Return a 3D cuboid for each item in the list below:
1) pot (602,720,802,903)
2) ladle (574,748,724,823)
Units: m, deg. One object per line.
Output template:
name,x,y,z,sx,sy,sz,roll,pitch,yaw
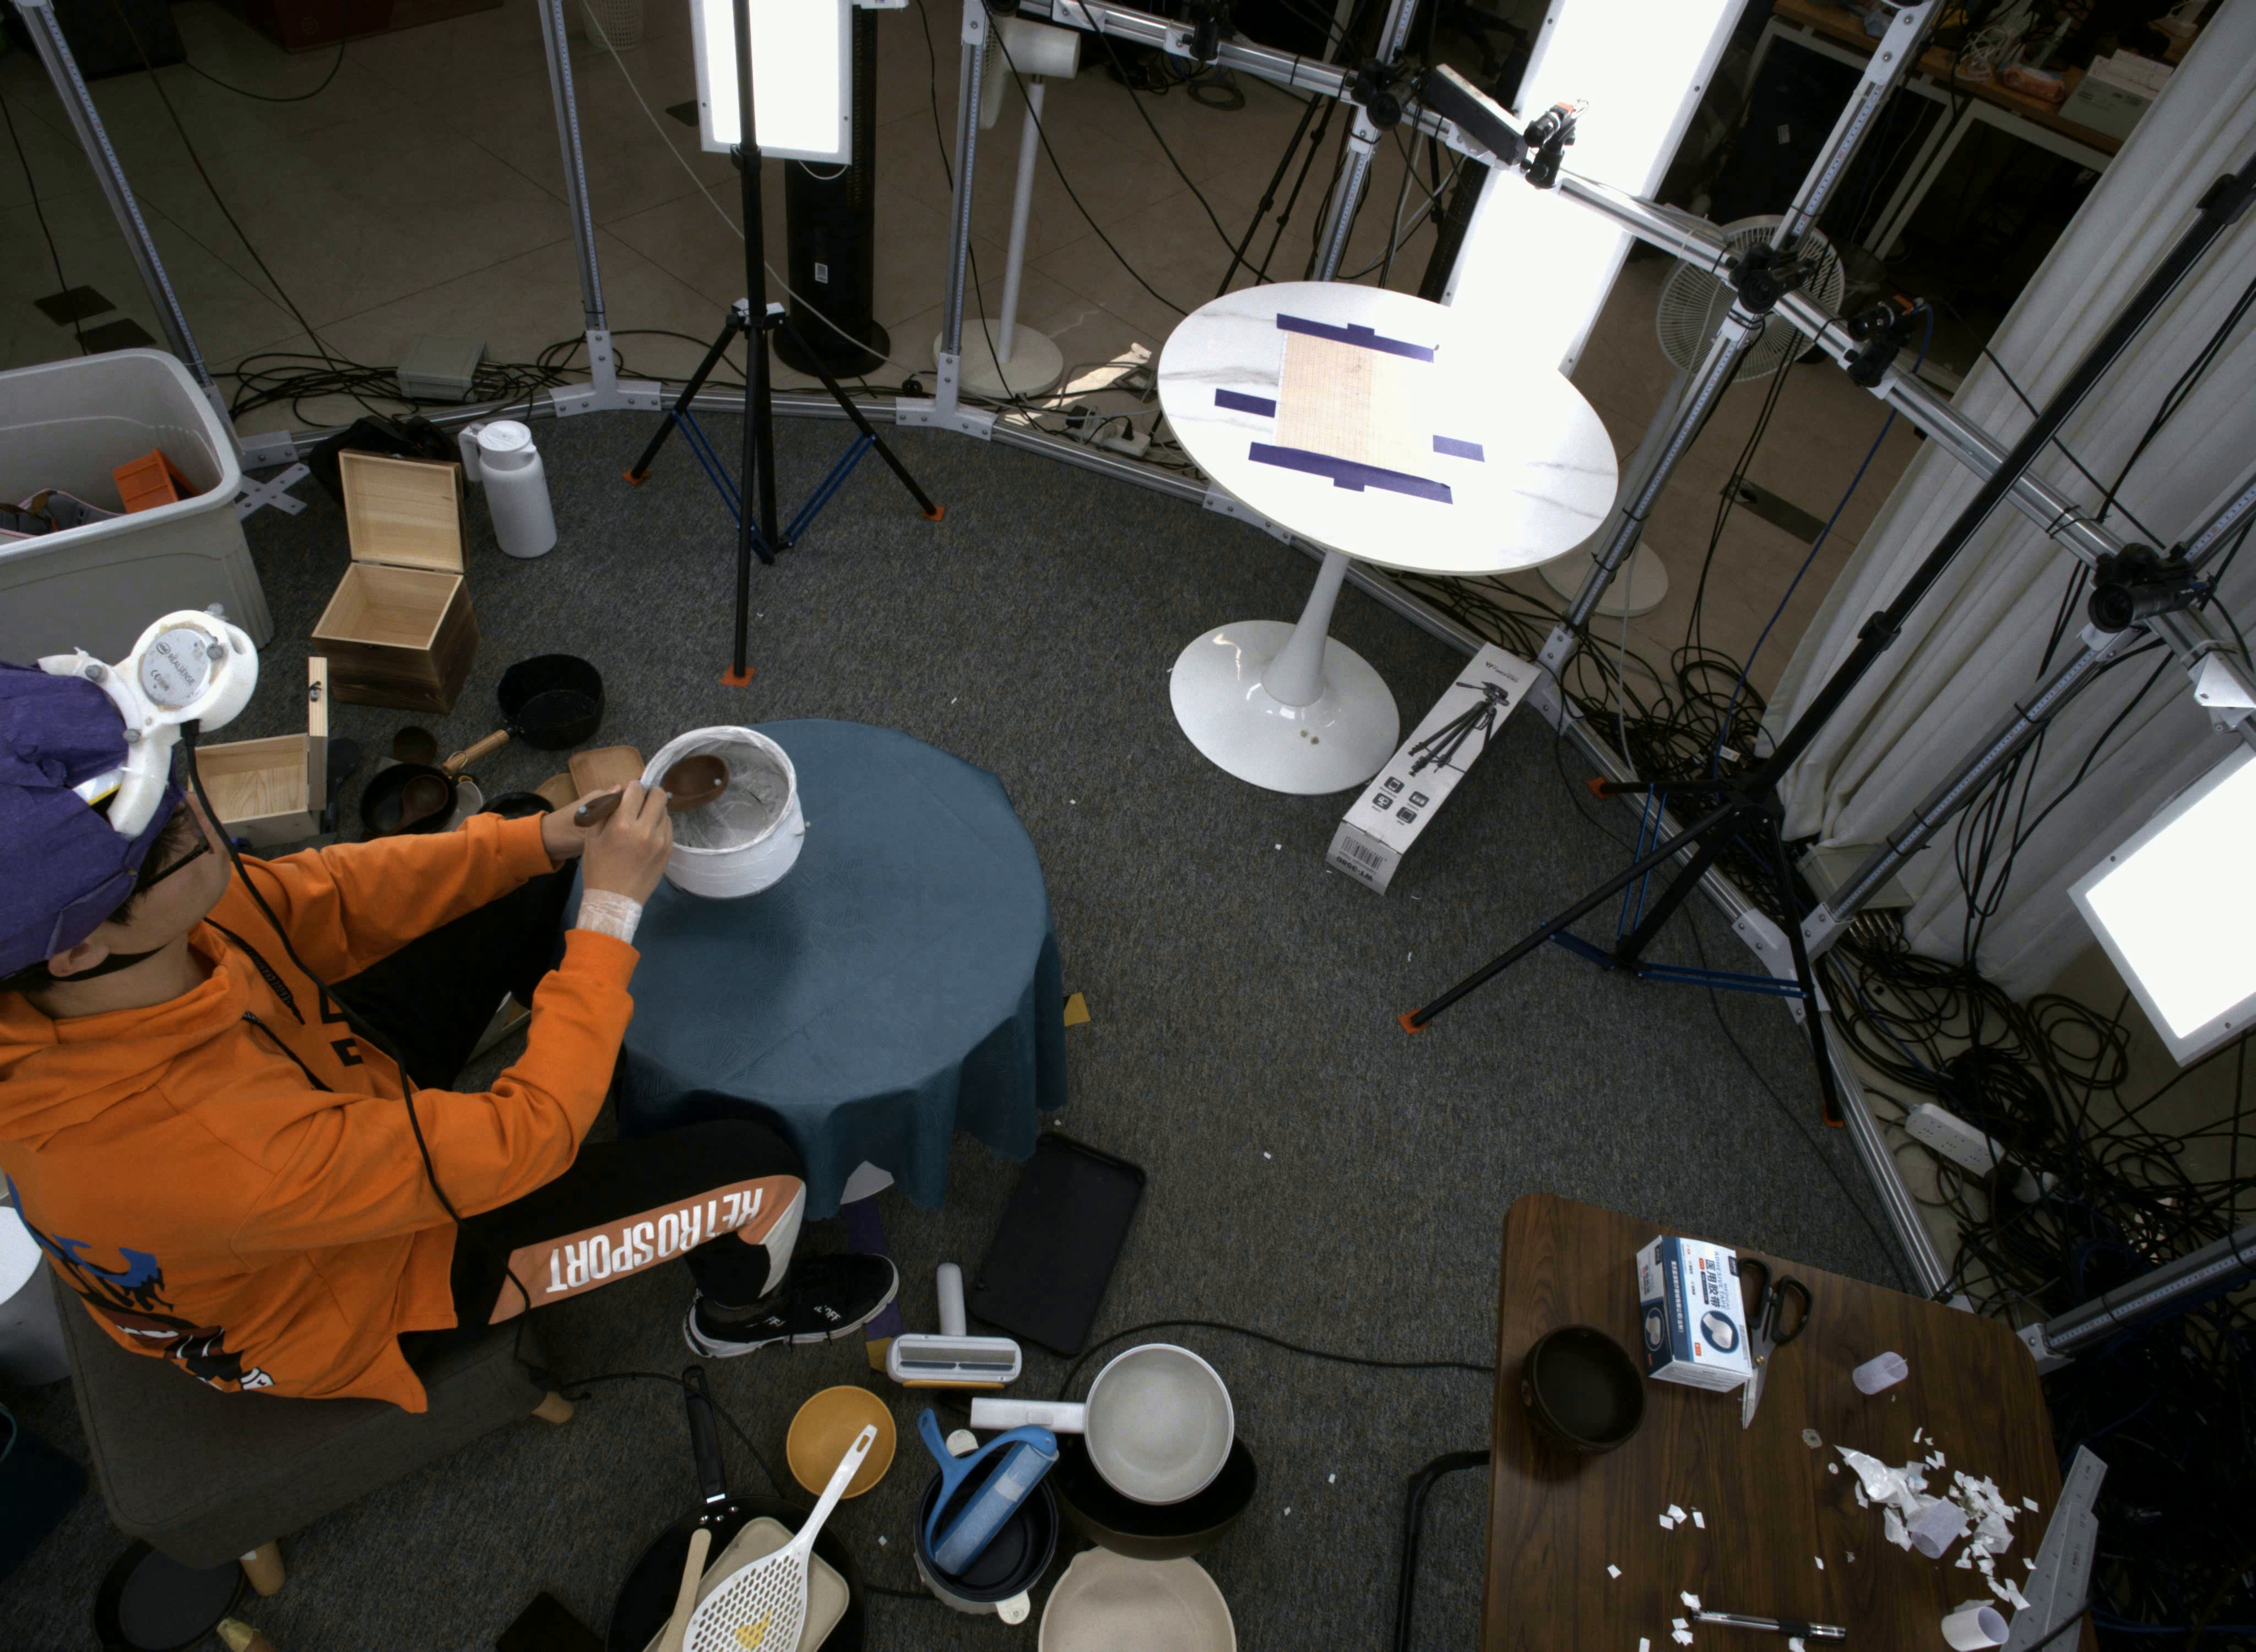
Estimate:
pot,-0.497,-0.008,1.489,0.234,0.139,0.175,-10,59,-16
ladle,-0.519,-0.048,1.373,0.075,0.261,0.066,2,95,12
